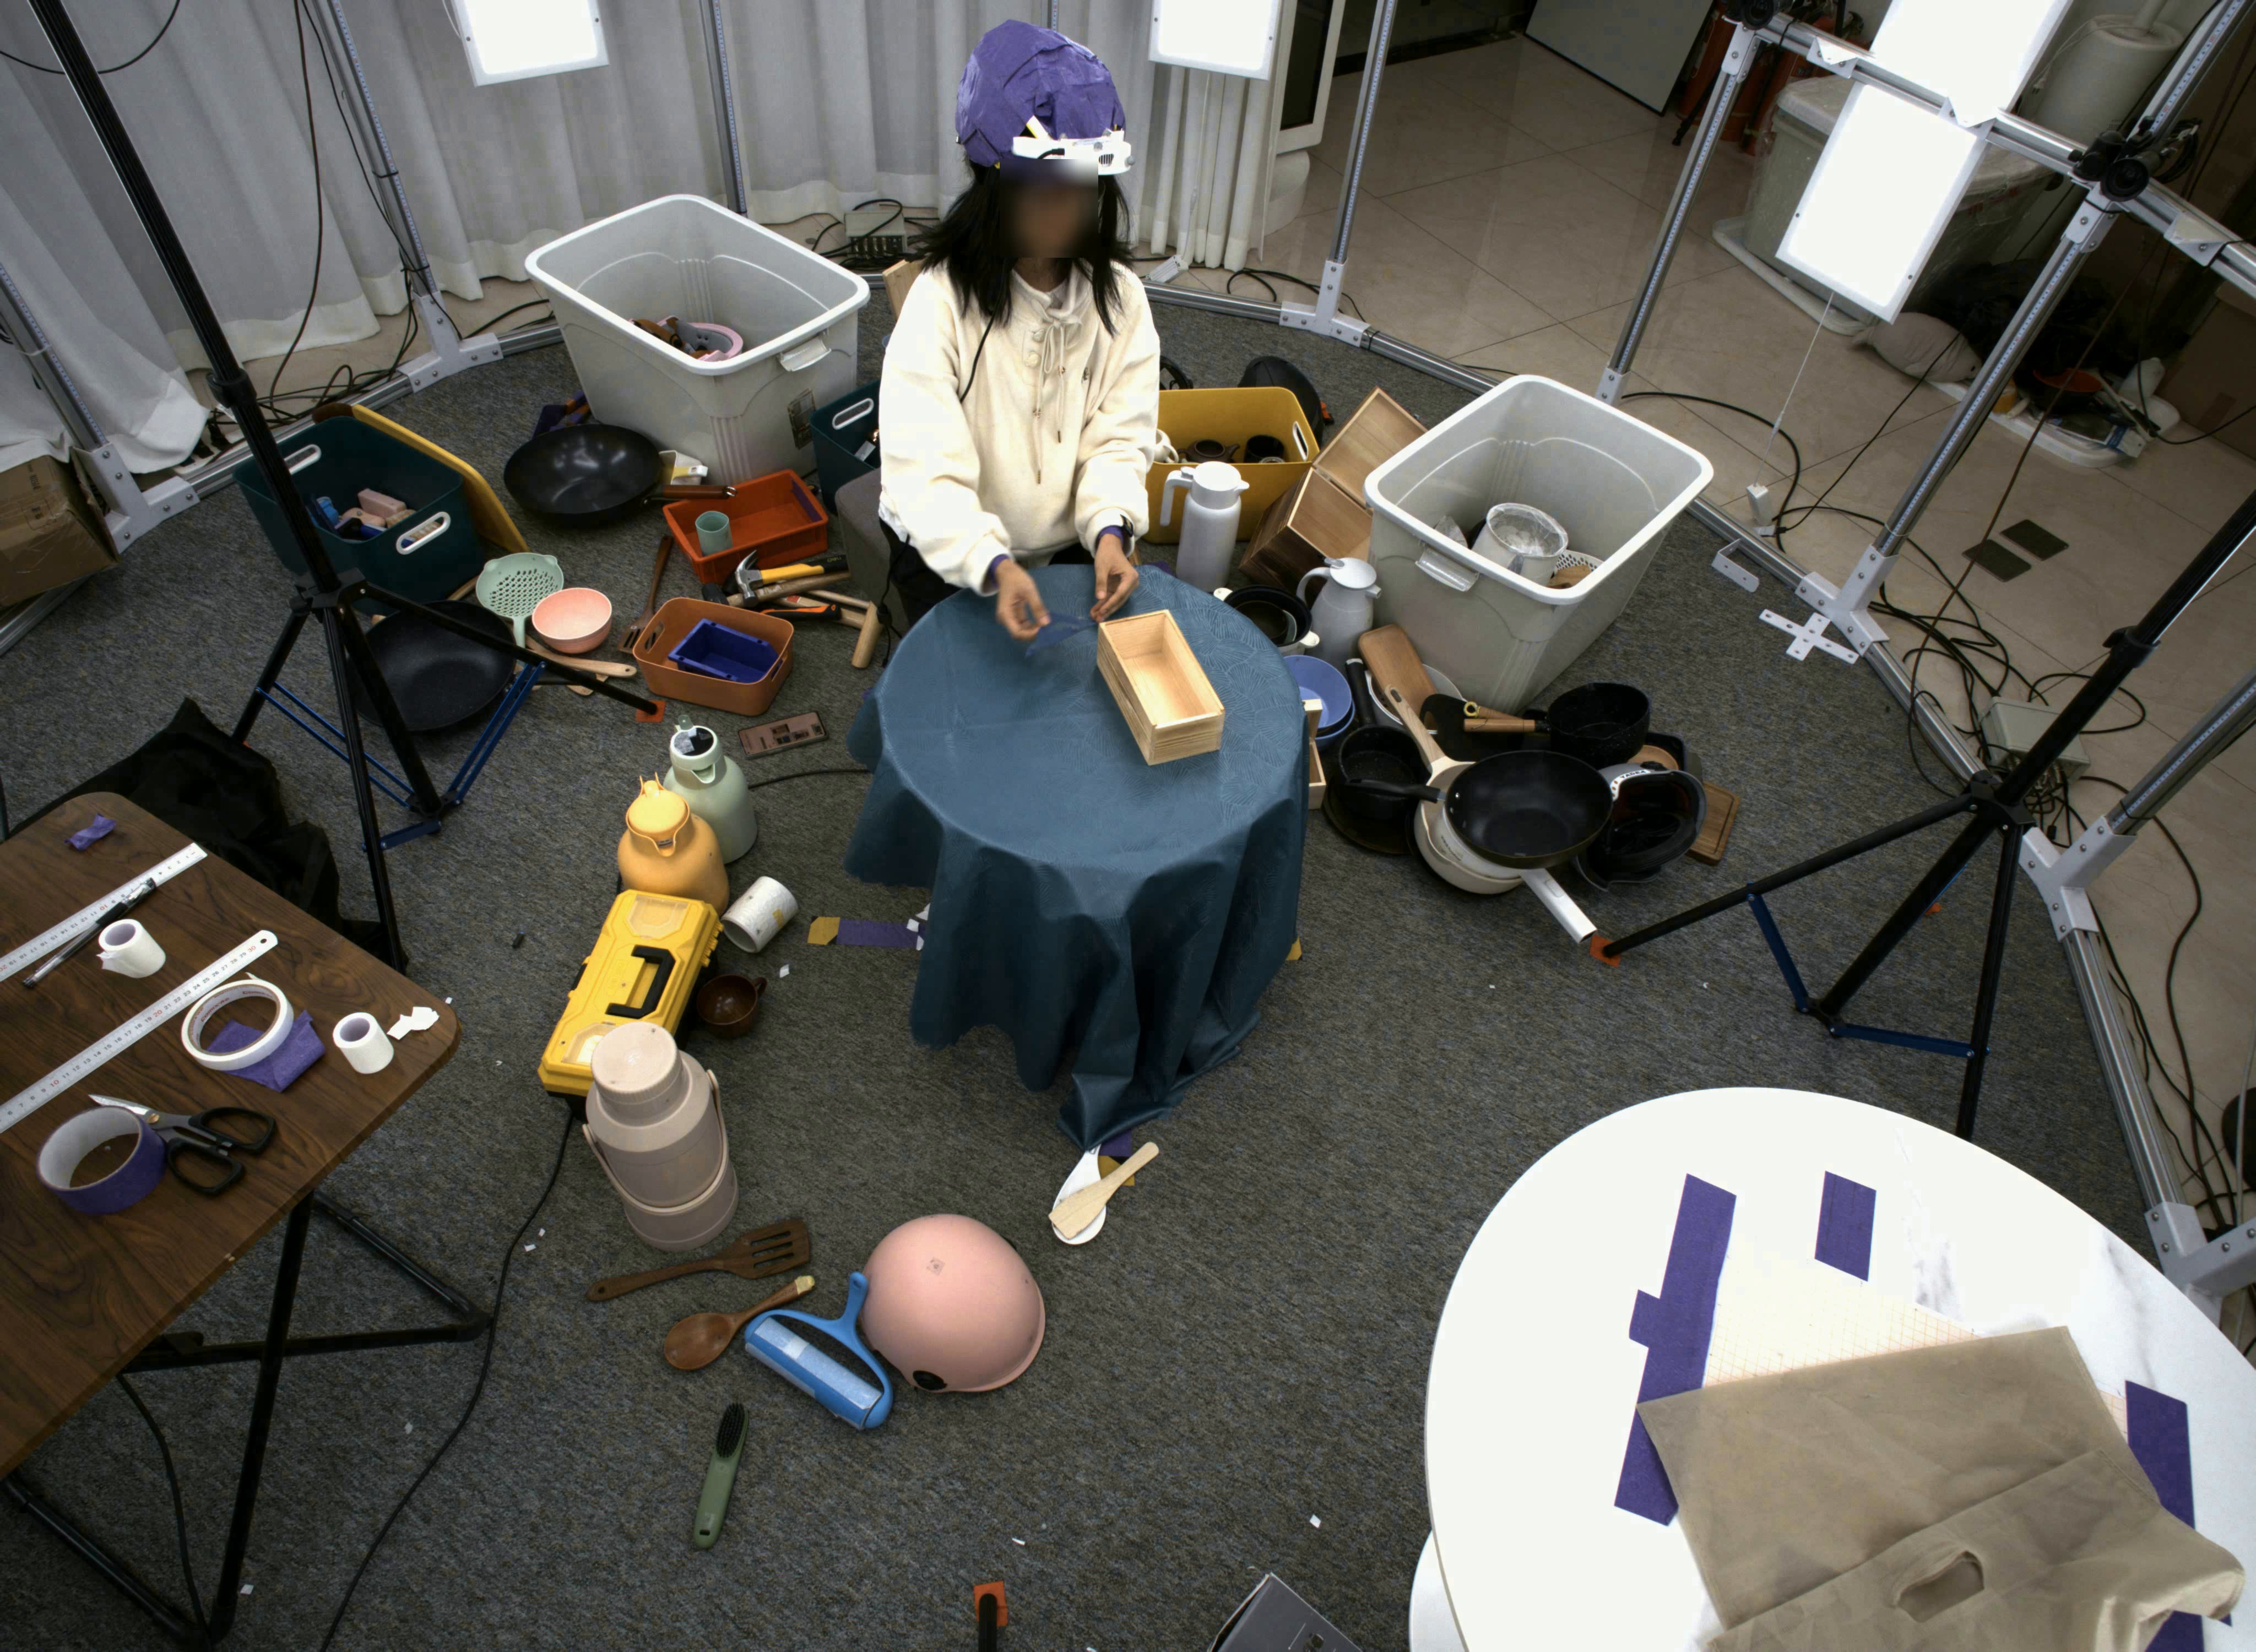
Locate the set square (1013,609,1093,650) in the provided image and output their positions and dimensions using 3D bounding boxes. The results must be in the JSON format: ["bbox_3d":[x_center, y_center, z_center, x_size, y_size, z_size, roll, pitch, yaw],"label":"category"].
[{"bbox_3d":[-0.117,-0.282,1.812,0.132,0.006,0.062,-24,52,-31],"label":"set square"}]

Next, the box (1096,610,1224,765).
[{"bbox_3d":[0.042,-0.197,1.792,0.107,0.078,0.216,-13,52,-16],"label":"box"}]
